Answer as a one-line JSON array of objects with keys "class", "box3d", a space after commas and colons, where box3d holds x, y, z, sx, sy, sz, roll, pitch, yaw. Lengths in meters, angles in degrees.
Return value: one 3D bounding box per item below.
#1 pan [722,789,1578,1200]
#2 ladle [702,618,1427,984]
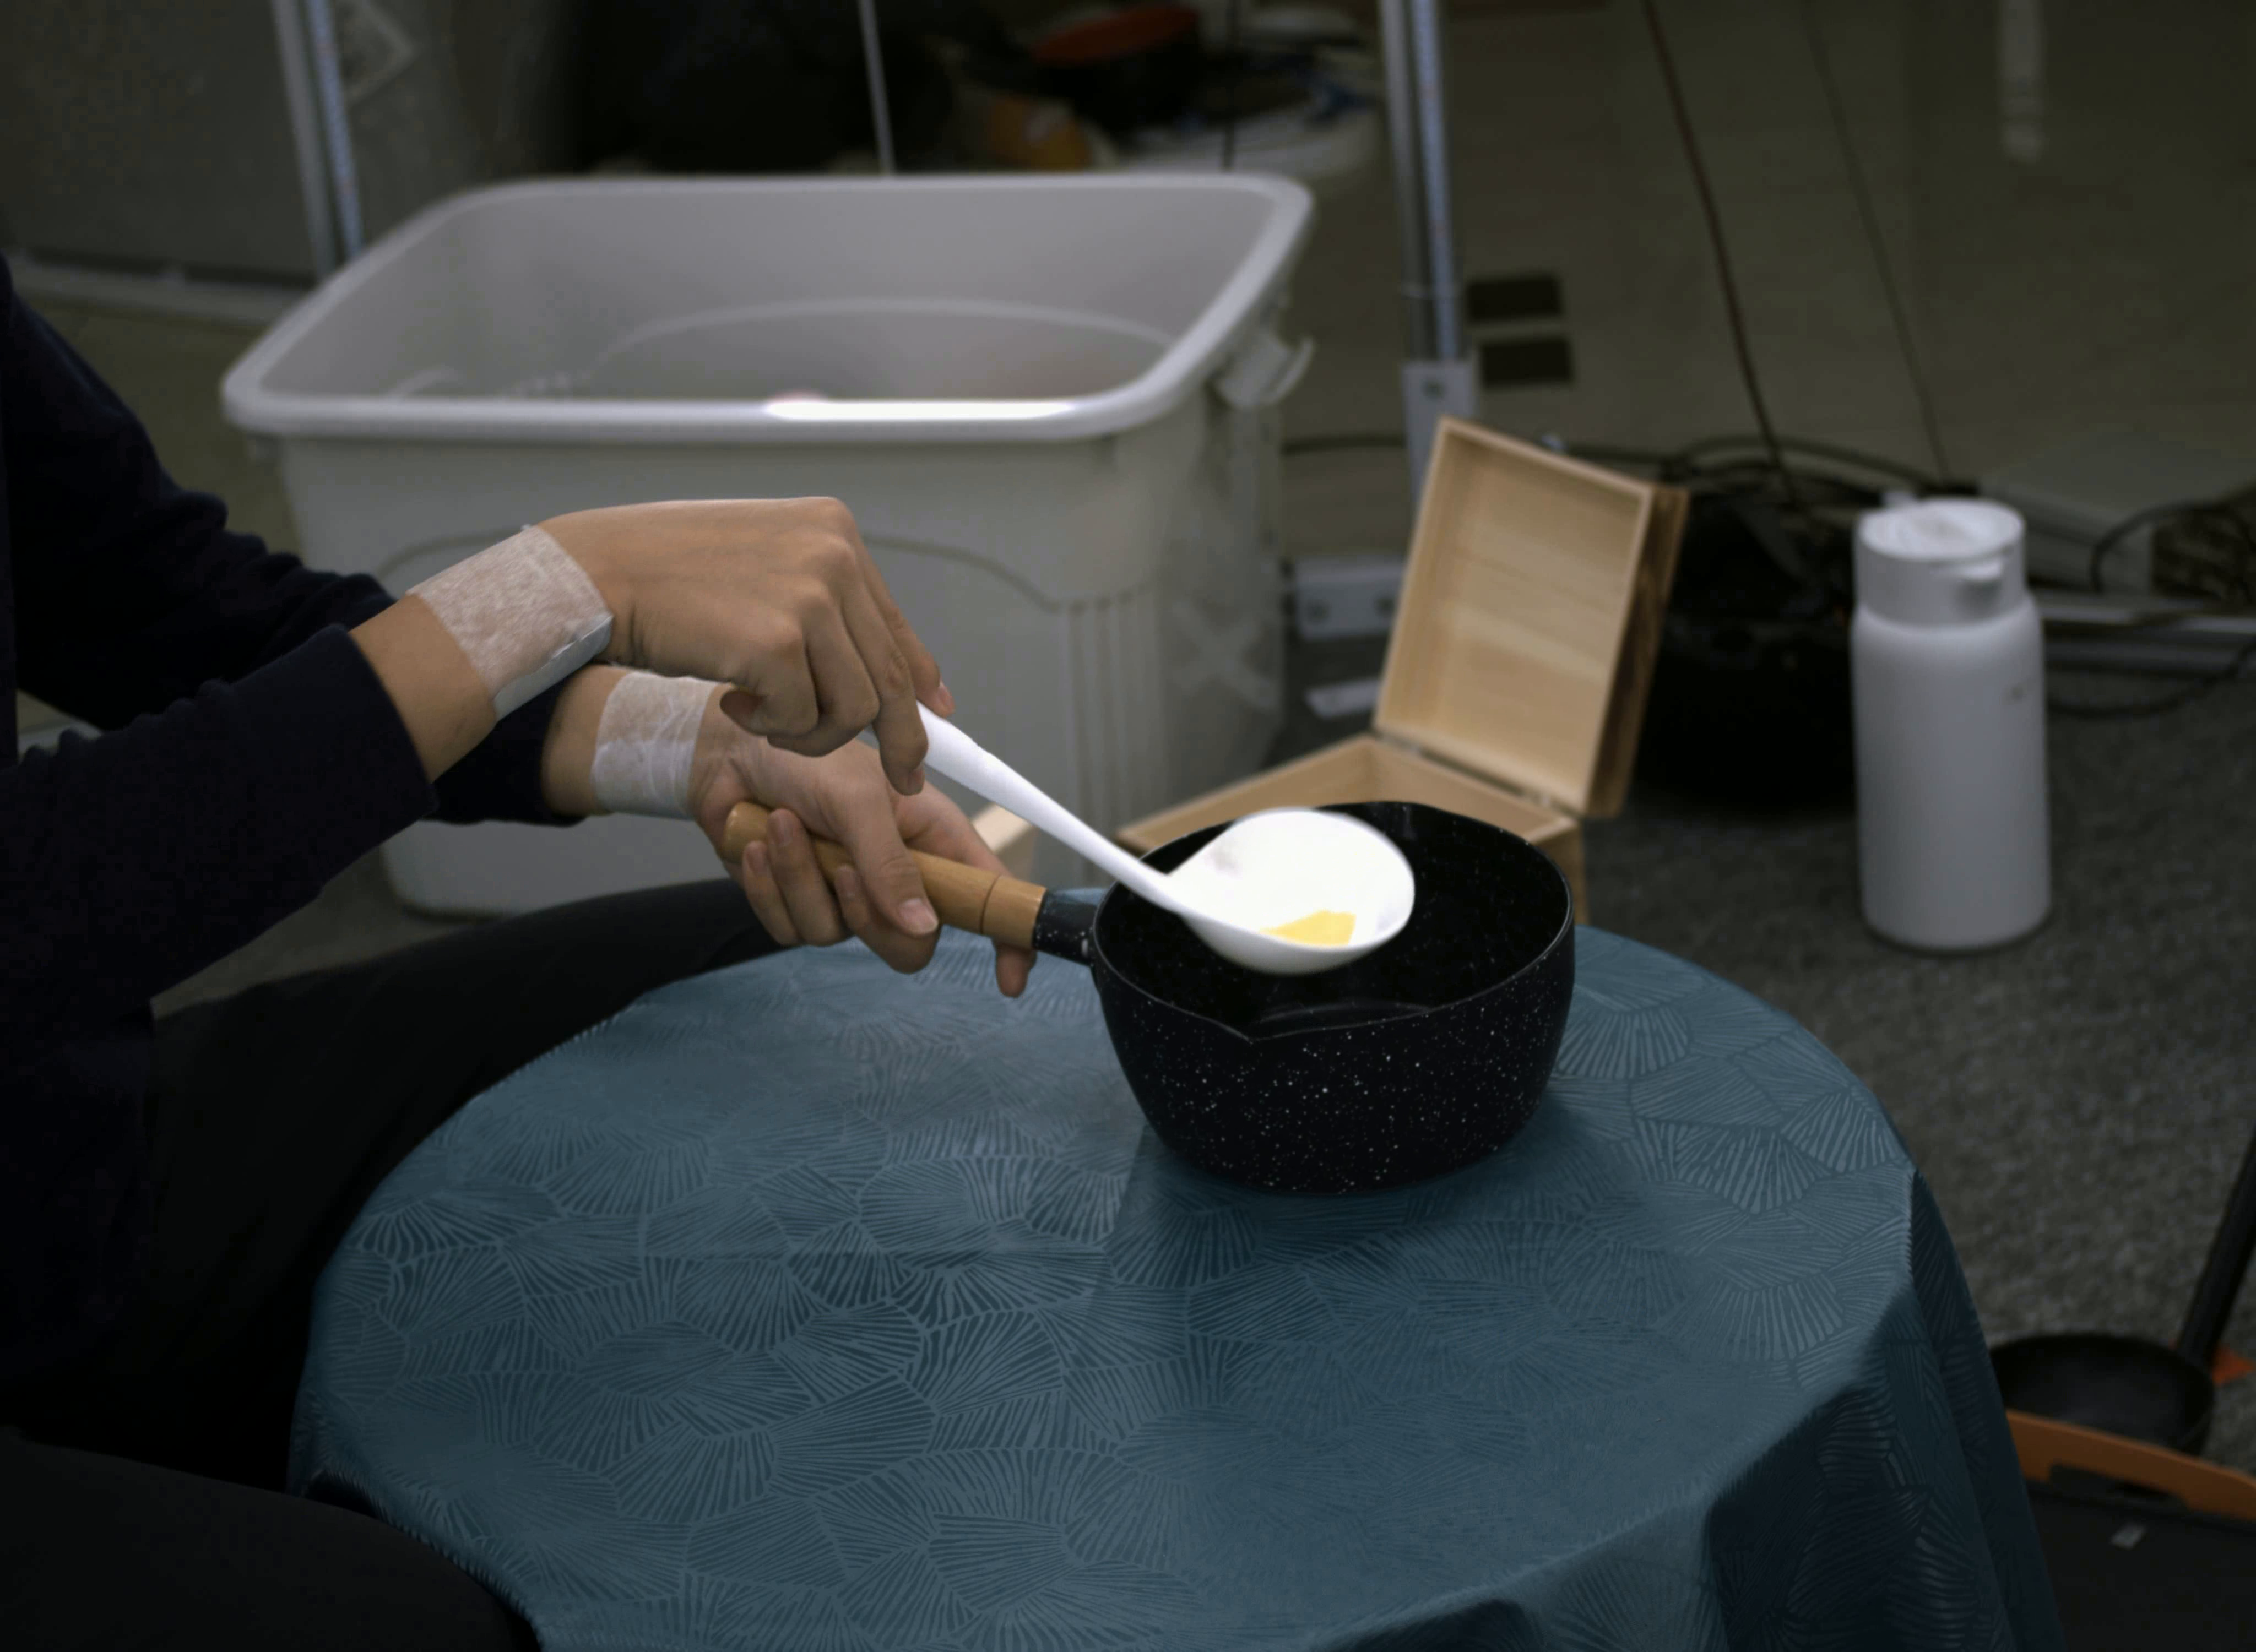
[{"class": "pan", "box3d": [0.005, 0.054, 2.189, 0.342, 0.110, 0.204, 5, 29, 17]}, {"class": "ladle", "box3d": [-0.019, -0.016, 2.058, 0.295, 0.070, 0.088, 27, 33, -33]}]
